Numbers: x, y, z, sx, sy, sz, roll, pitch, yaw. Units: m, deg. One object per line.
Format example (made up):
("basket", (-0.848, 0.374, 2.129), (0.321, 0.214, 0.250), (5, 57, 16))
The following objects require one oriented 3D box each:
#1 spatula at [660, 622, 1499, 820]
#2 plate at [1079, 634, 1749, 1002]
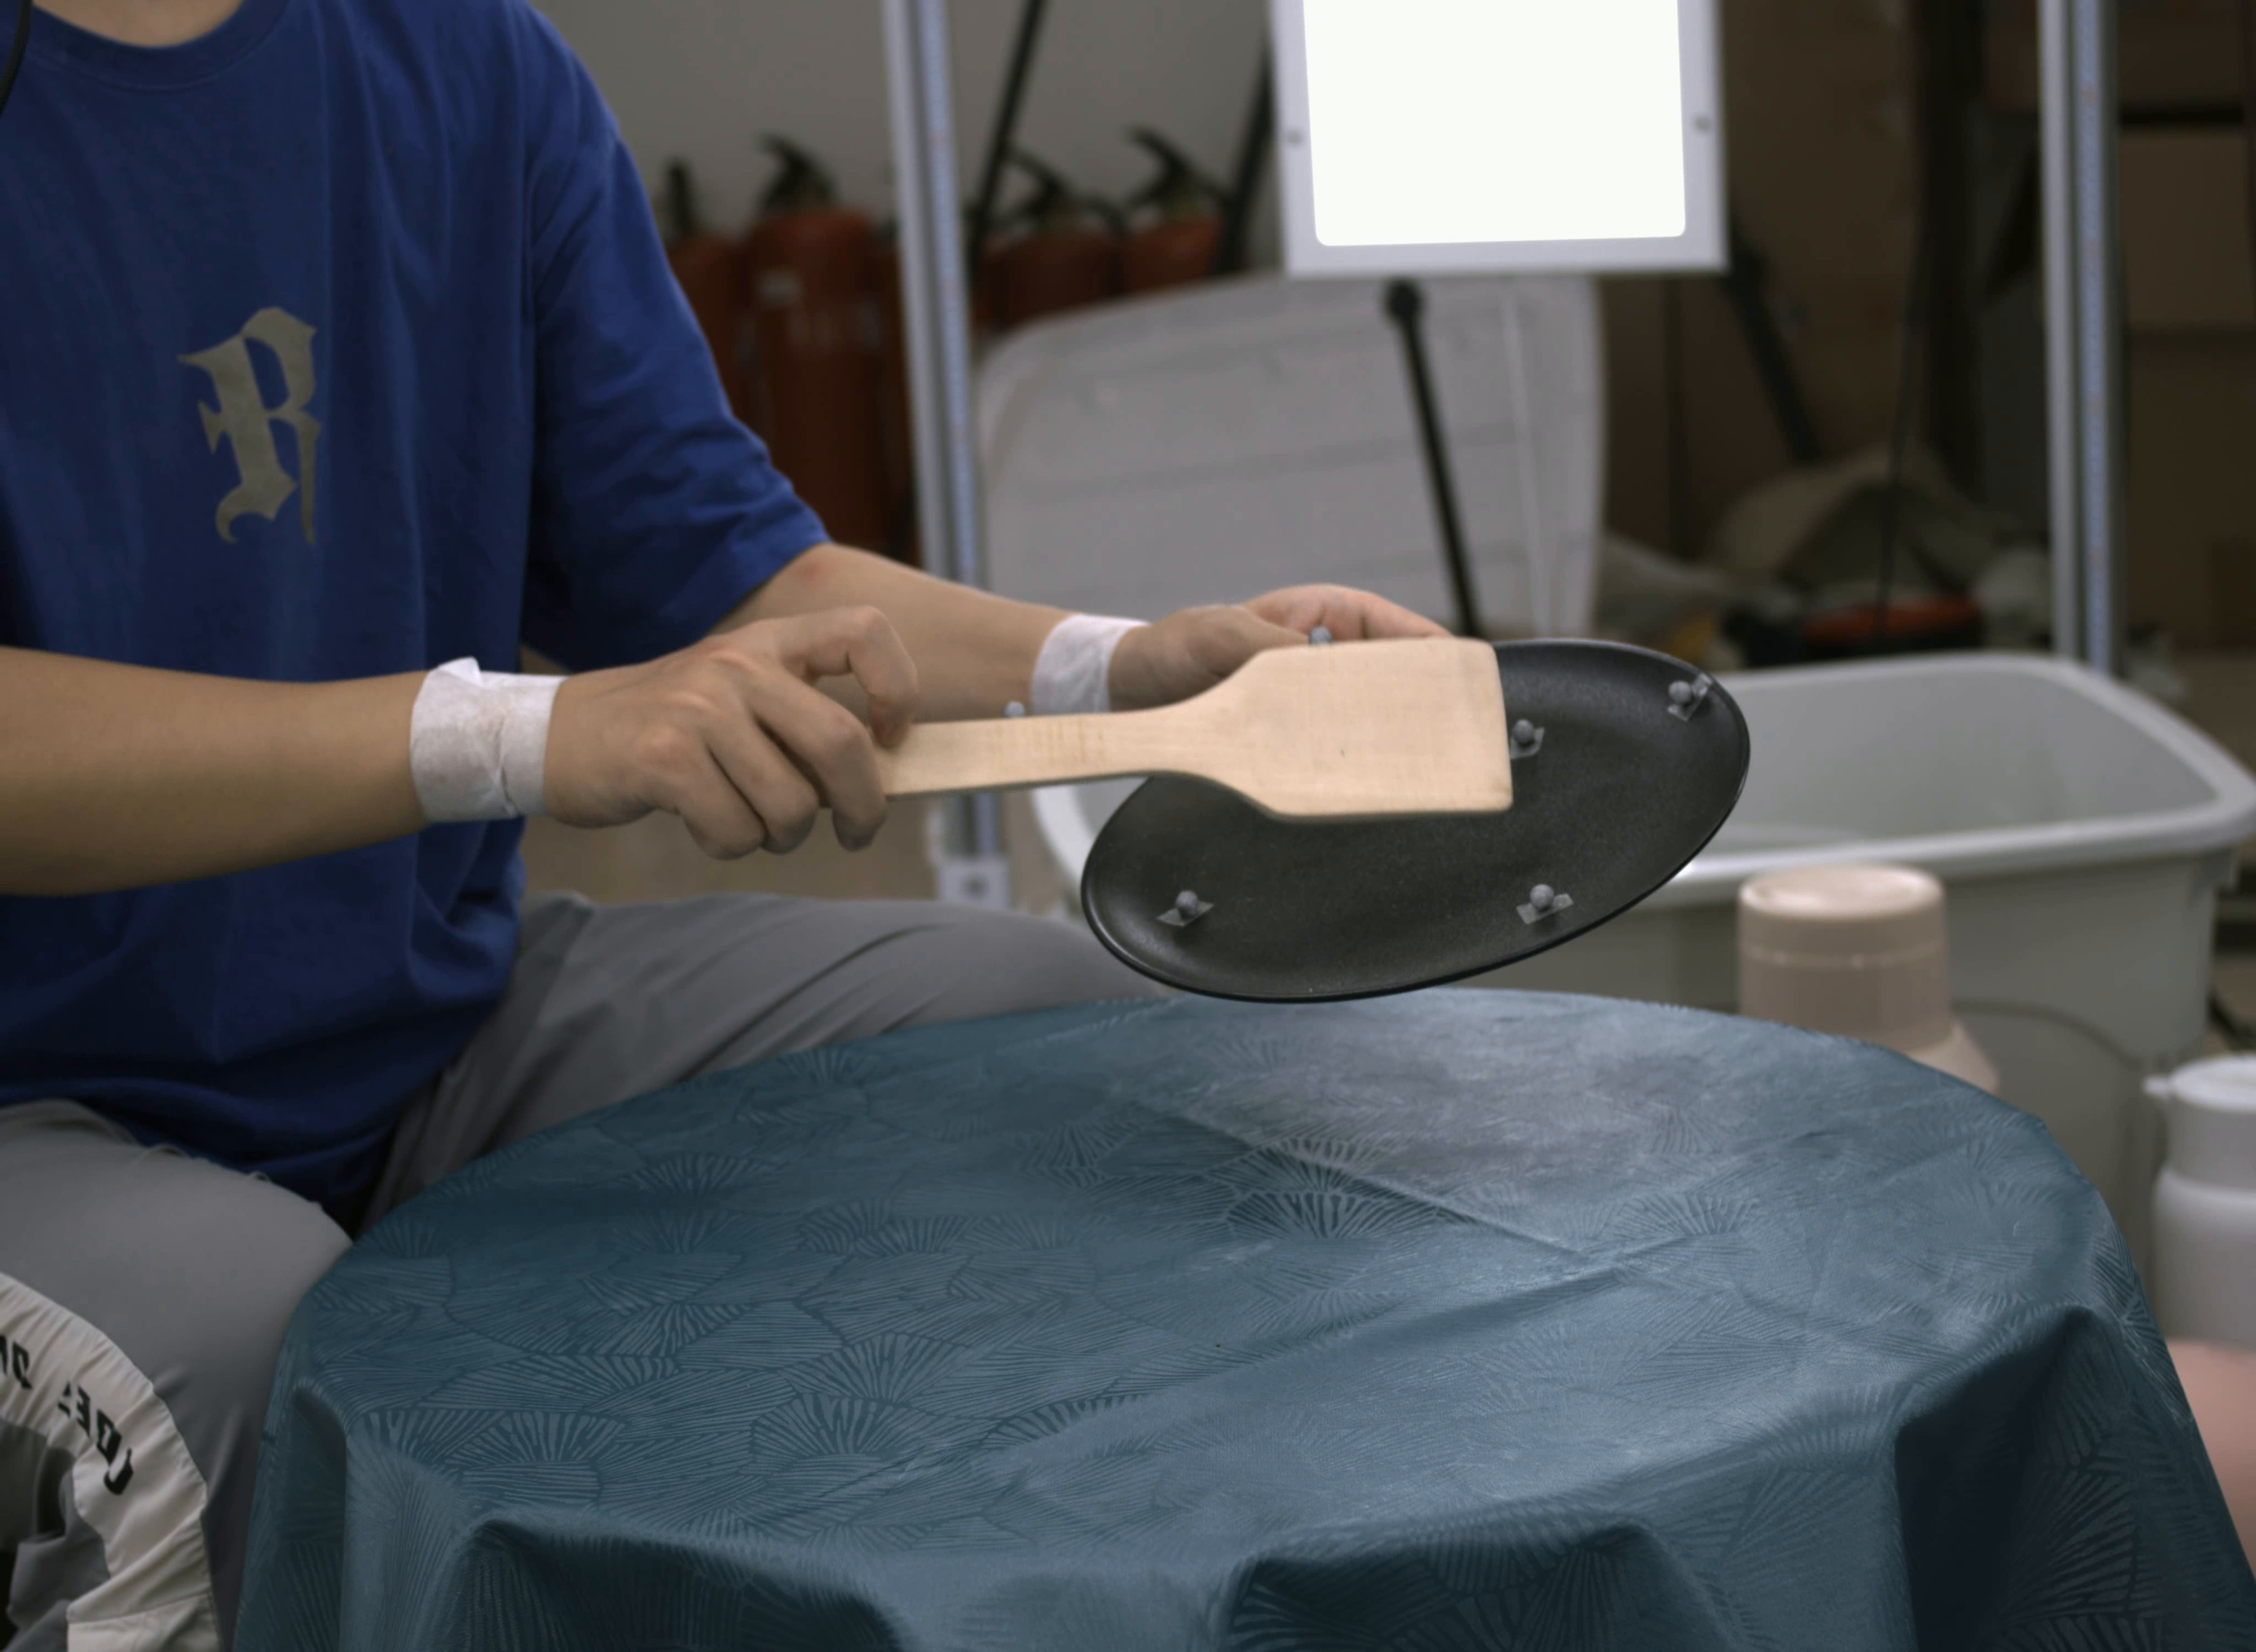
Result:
("spatula", (-0.018, -0.029, 1.916), (0.293, 0.072, 0.010), (-5, -28, 3))
("plate", (0.102, 0.002, 1.936), (0.245, 0.023, 0.244), (-15, 27, 7))
